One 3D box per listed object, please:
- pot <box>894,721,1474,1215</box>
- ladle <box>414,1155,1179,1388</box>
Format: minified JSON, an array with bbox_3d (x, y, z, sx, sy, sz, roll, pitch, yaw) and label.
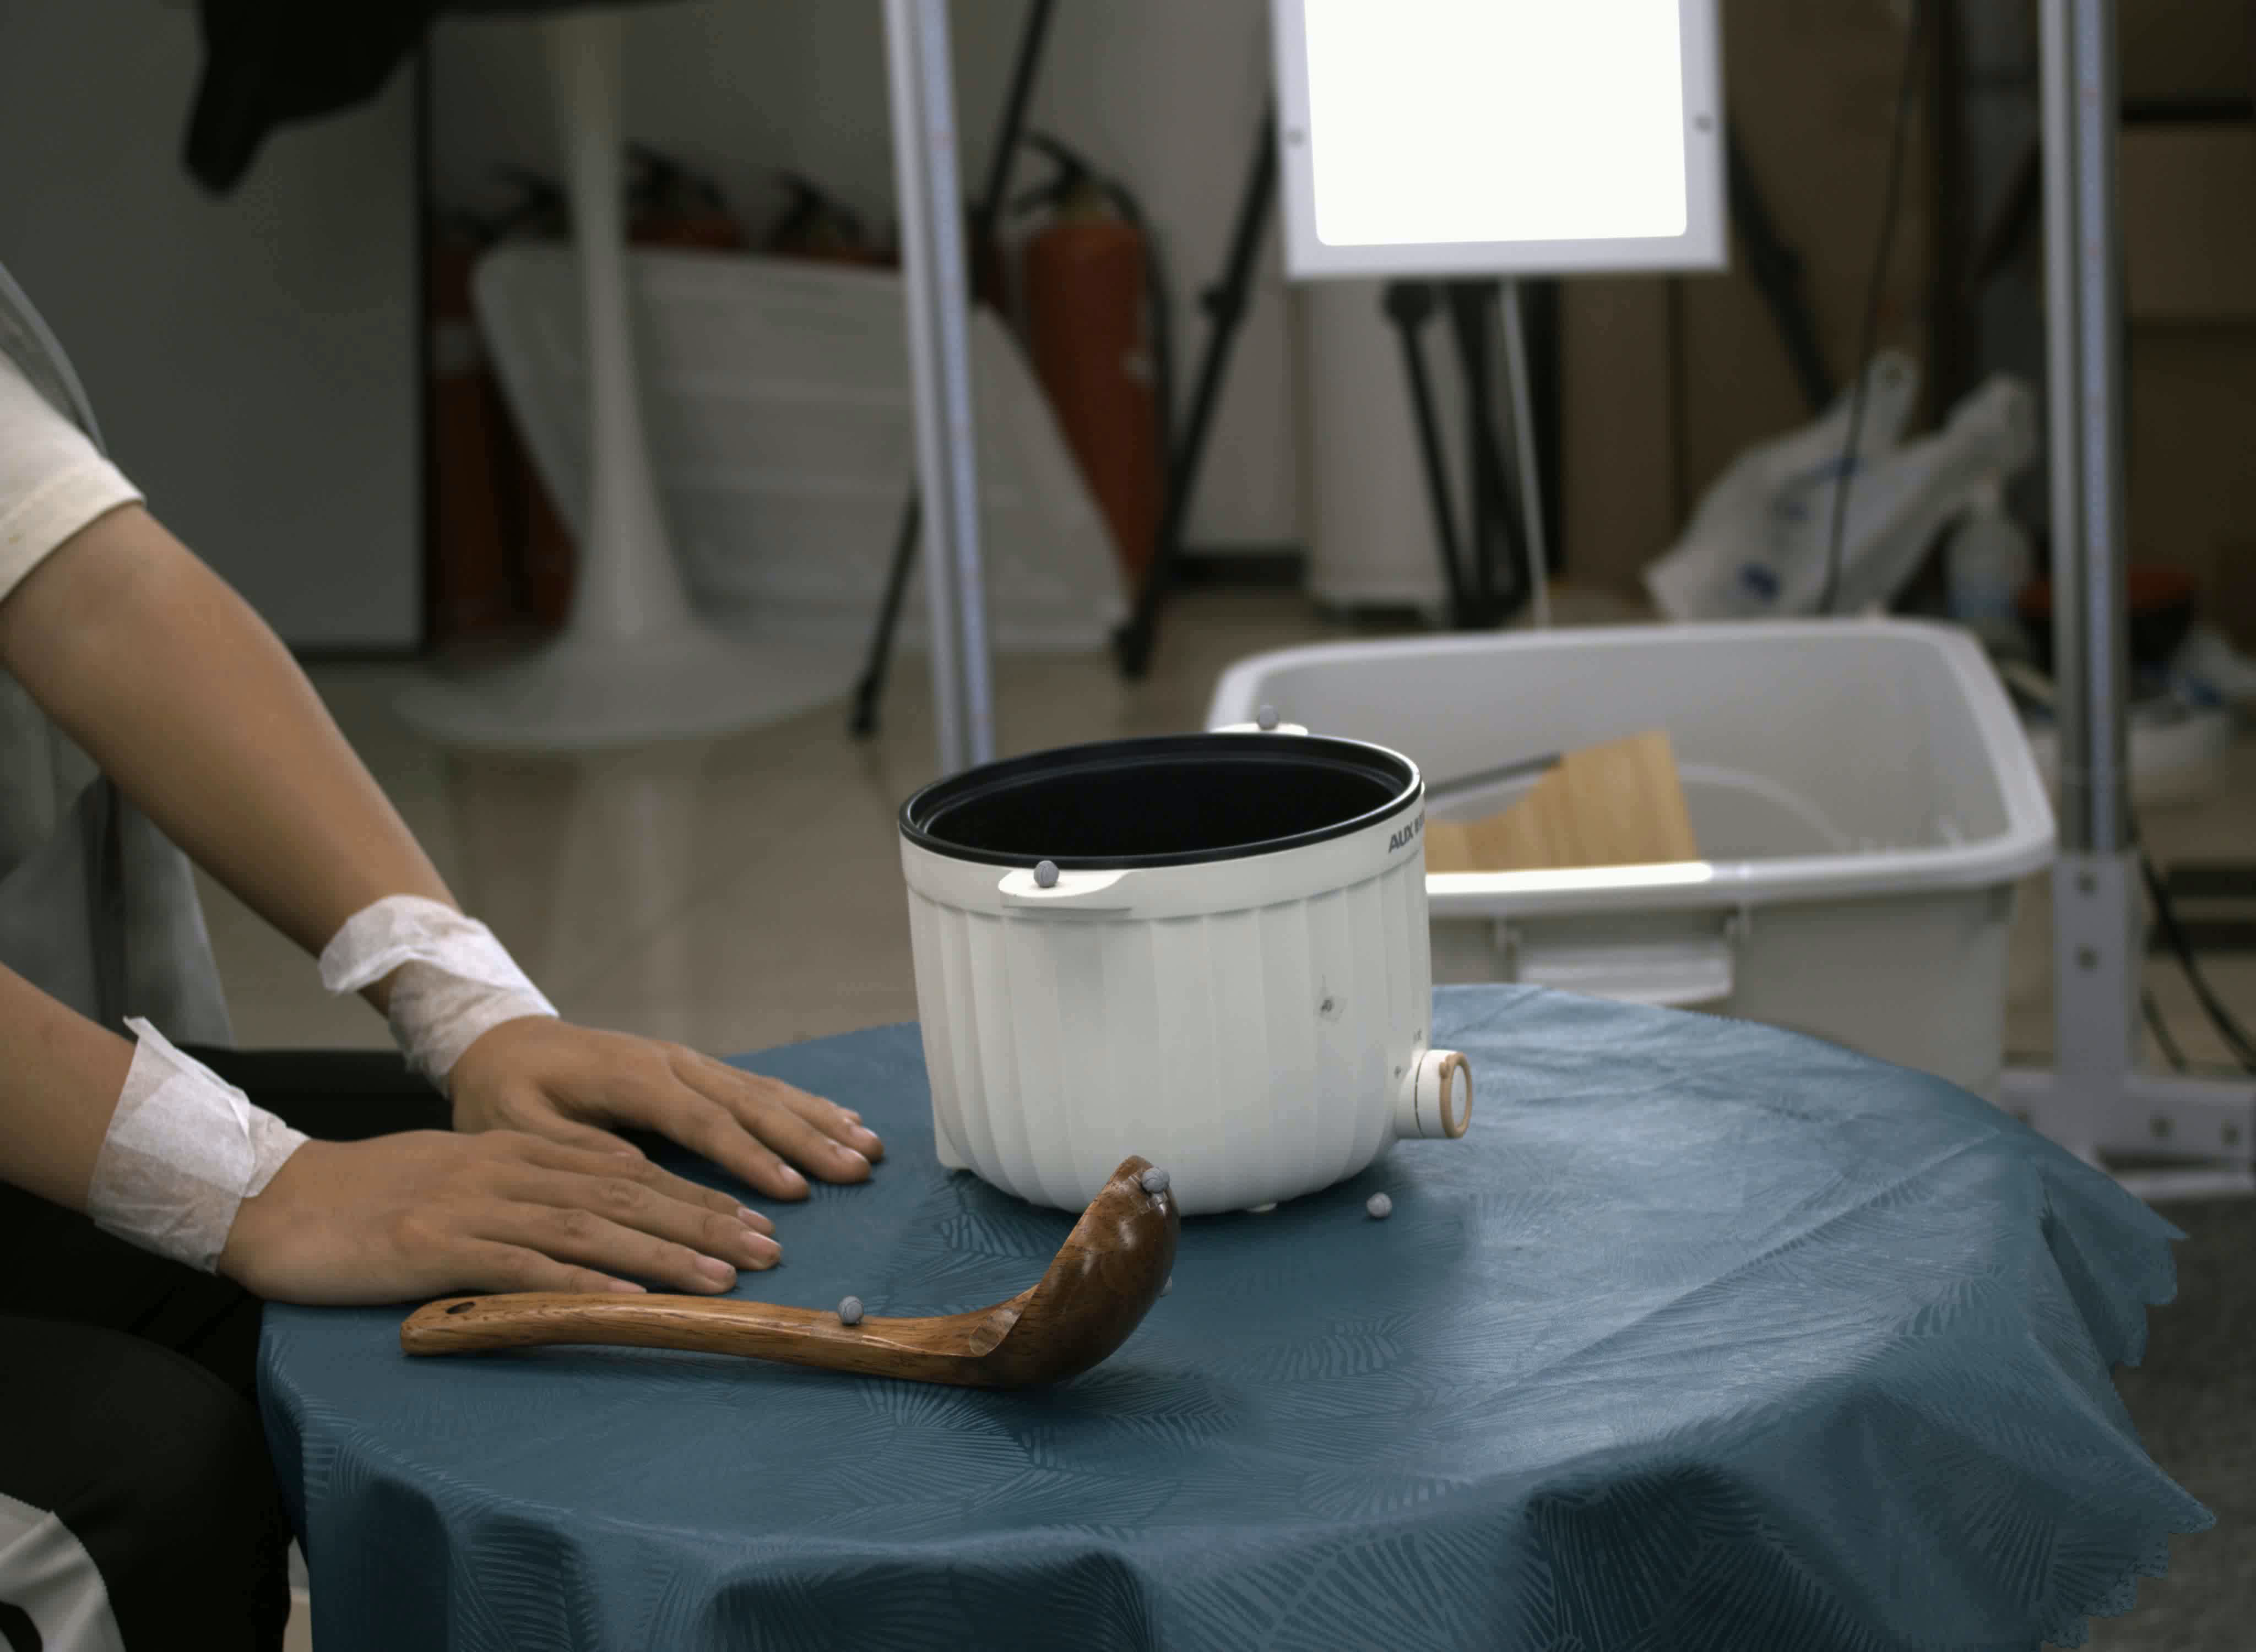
[{"bbox_3d":[0.021,0.052,1.901,0.193,0.143,0.236,-3,15,22],"label":"pot"},{"bbox_3d":[-0.111,0.136,1.740,0.278,0.077,0.080,2,18,26],"label":"ladle"}]
